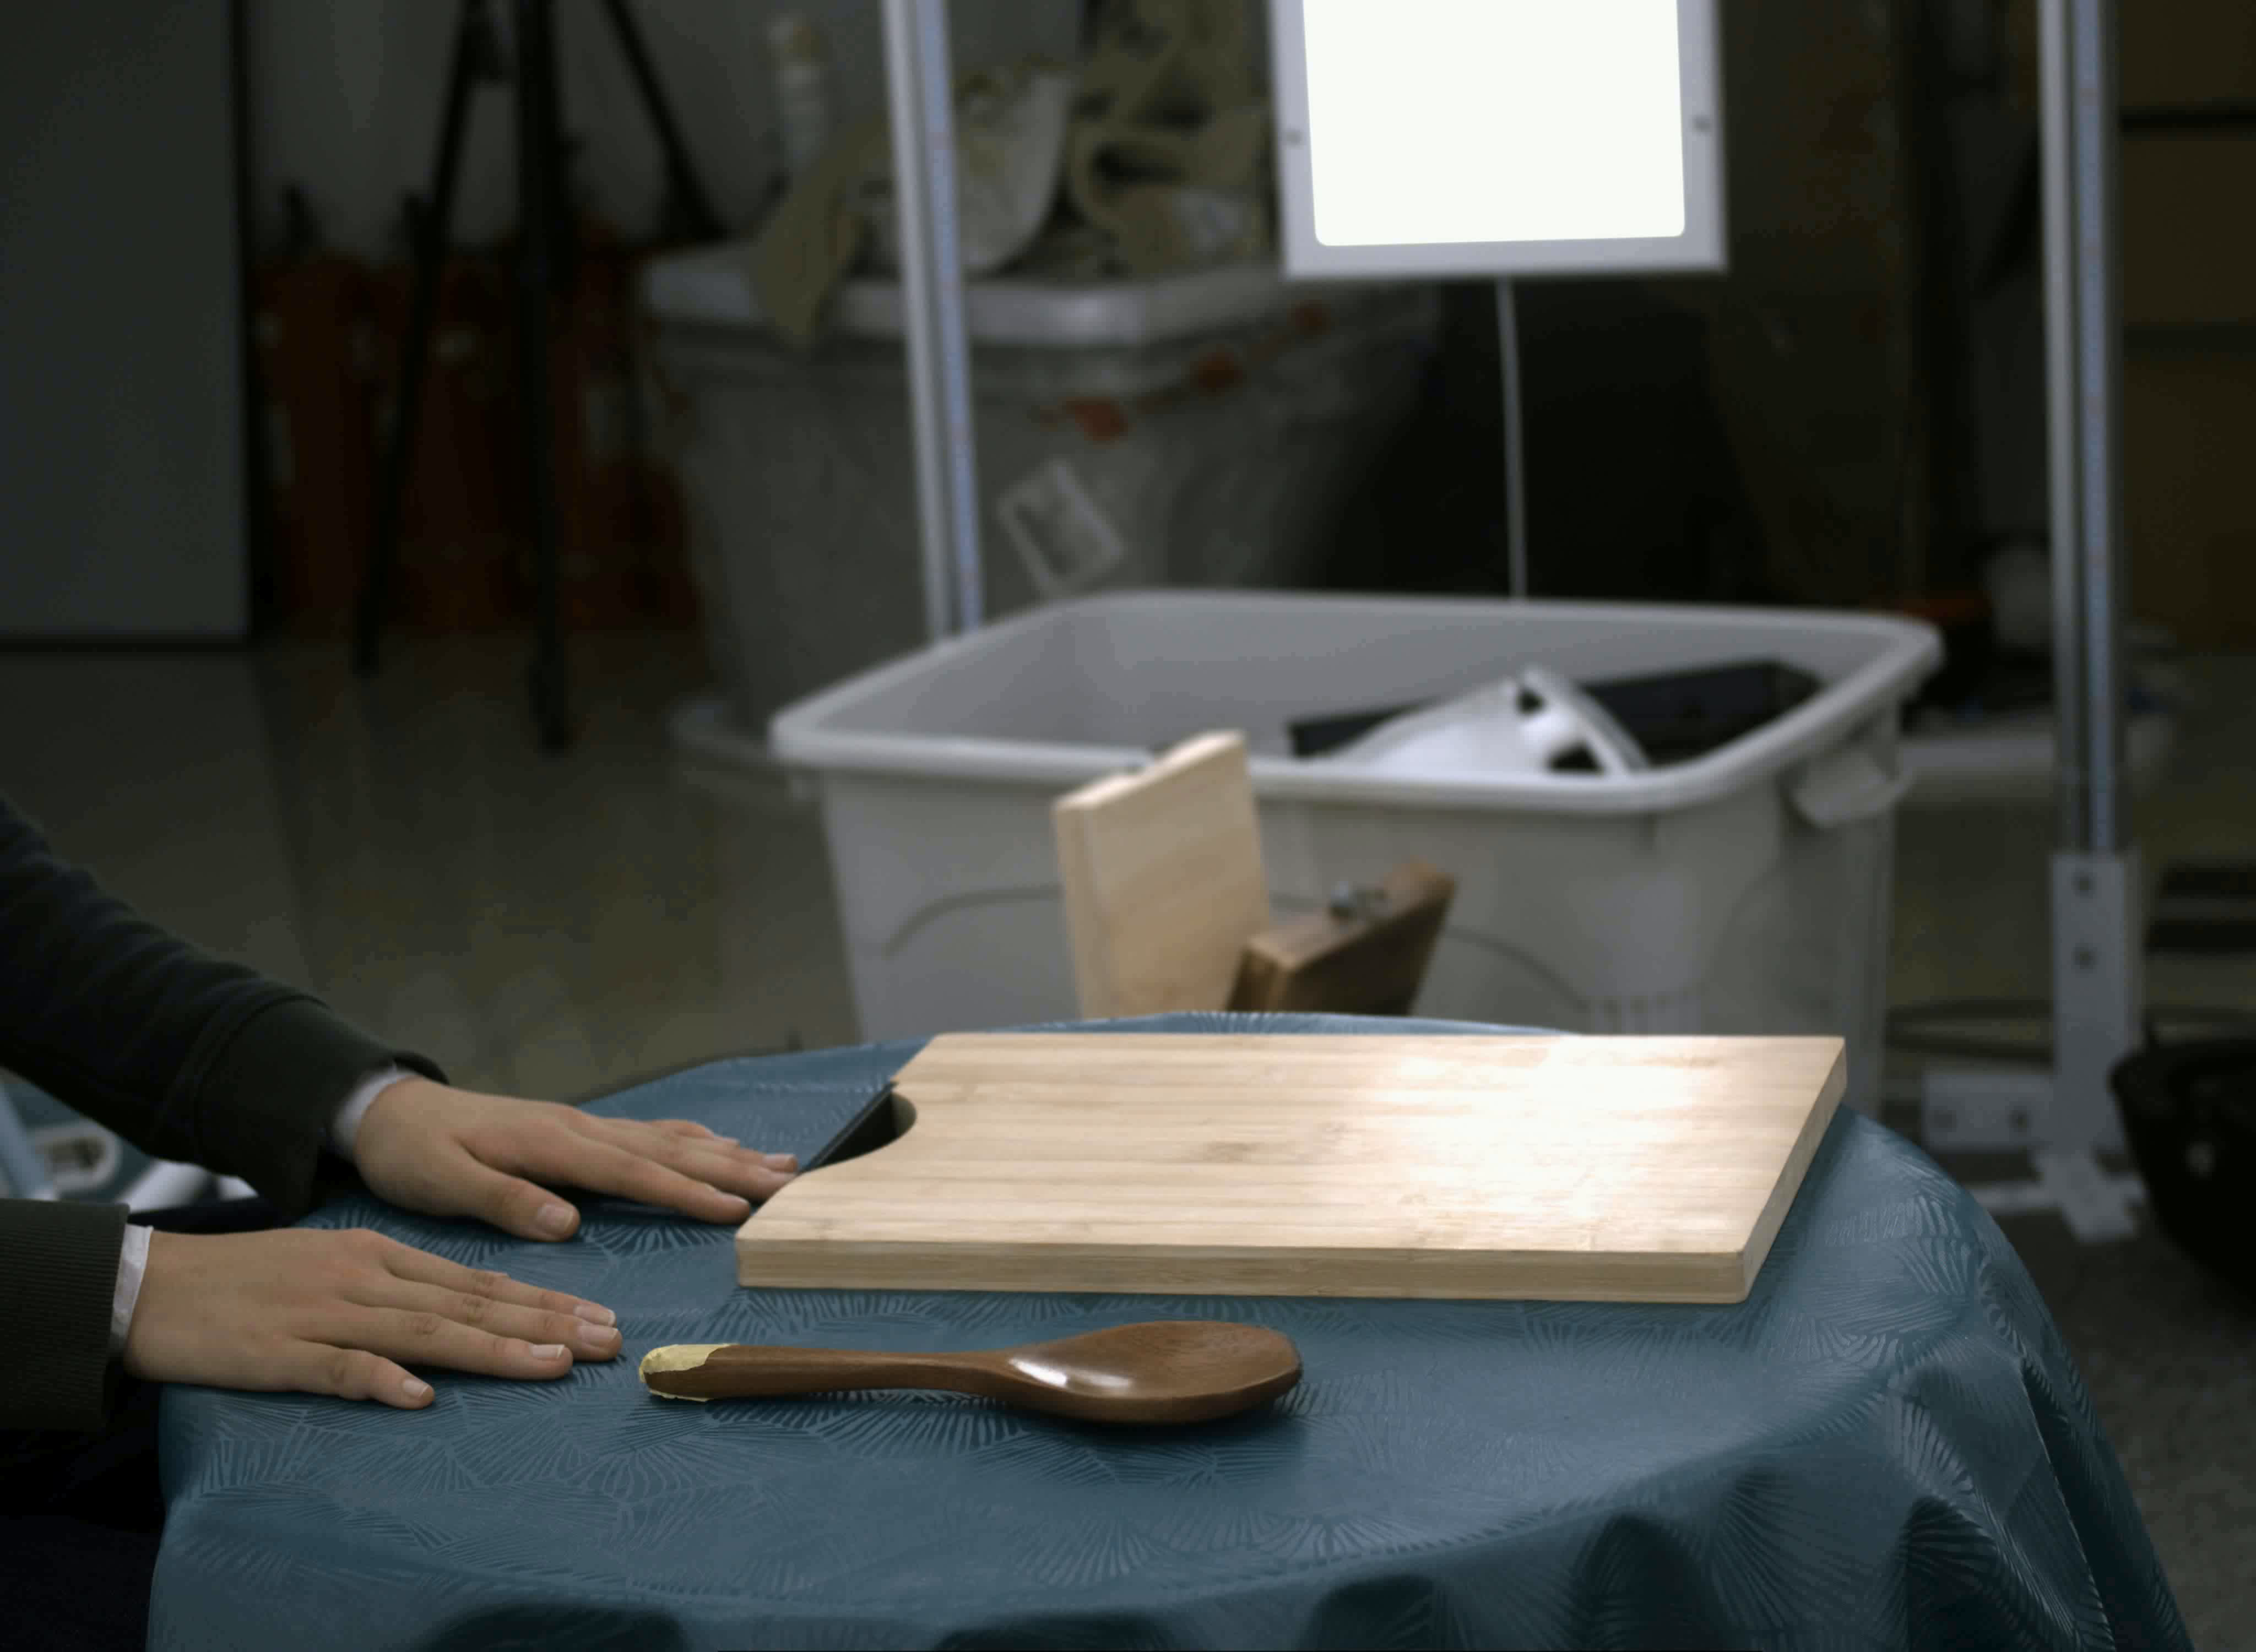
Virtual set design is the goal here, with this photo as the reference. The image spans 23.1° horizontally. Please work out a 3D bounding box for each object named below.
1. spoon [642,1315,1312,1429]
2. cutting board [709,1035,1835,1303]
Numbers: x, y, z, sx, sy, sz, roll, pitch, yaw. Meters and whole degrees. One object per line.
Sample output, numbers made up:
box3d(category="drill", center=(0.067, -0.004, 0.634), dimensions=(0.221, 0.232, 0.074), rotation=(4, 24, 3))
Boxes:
box3d(category="spoon", center=(-0.048, 0.169, 1.704), dimensions=(0.218, 0.017, 0.074), rotation=(0, 16, 18))
box3d(category="cutting board", center=(0.056, 0.115, 1.892), dimensions=(0.352, 0.023, 0.247), rotation=(-1, 14, 17))
